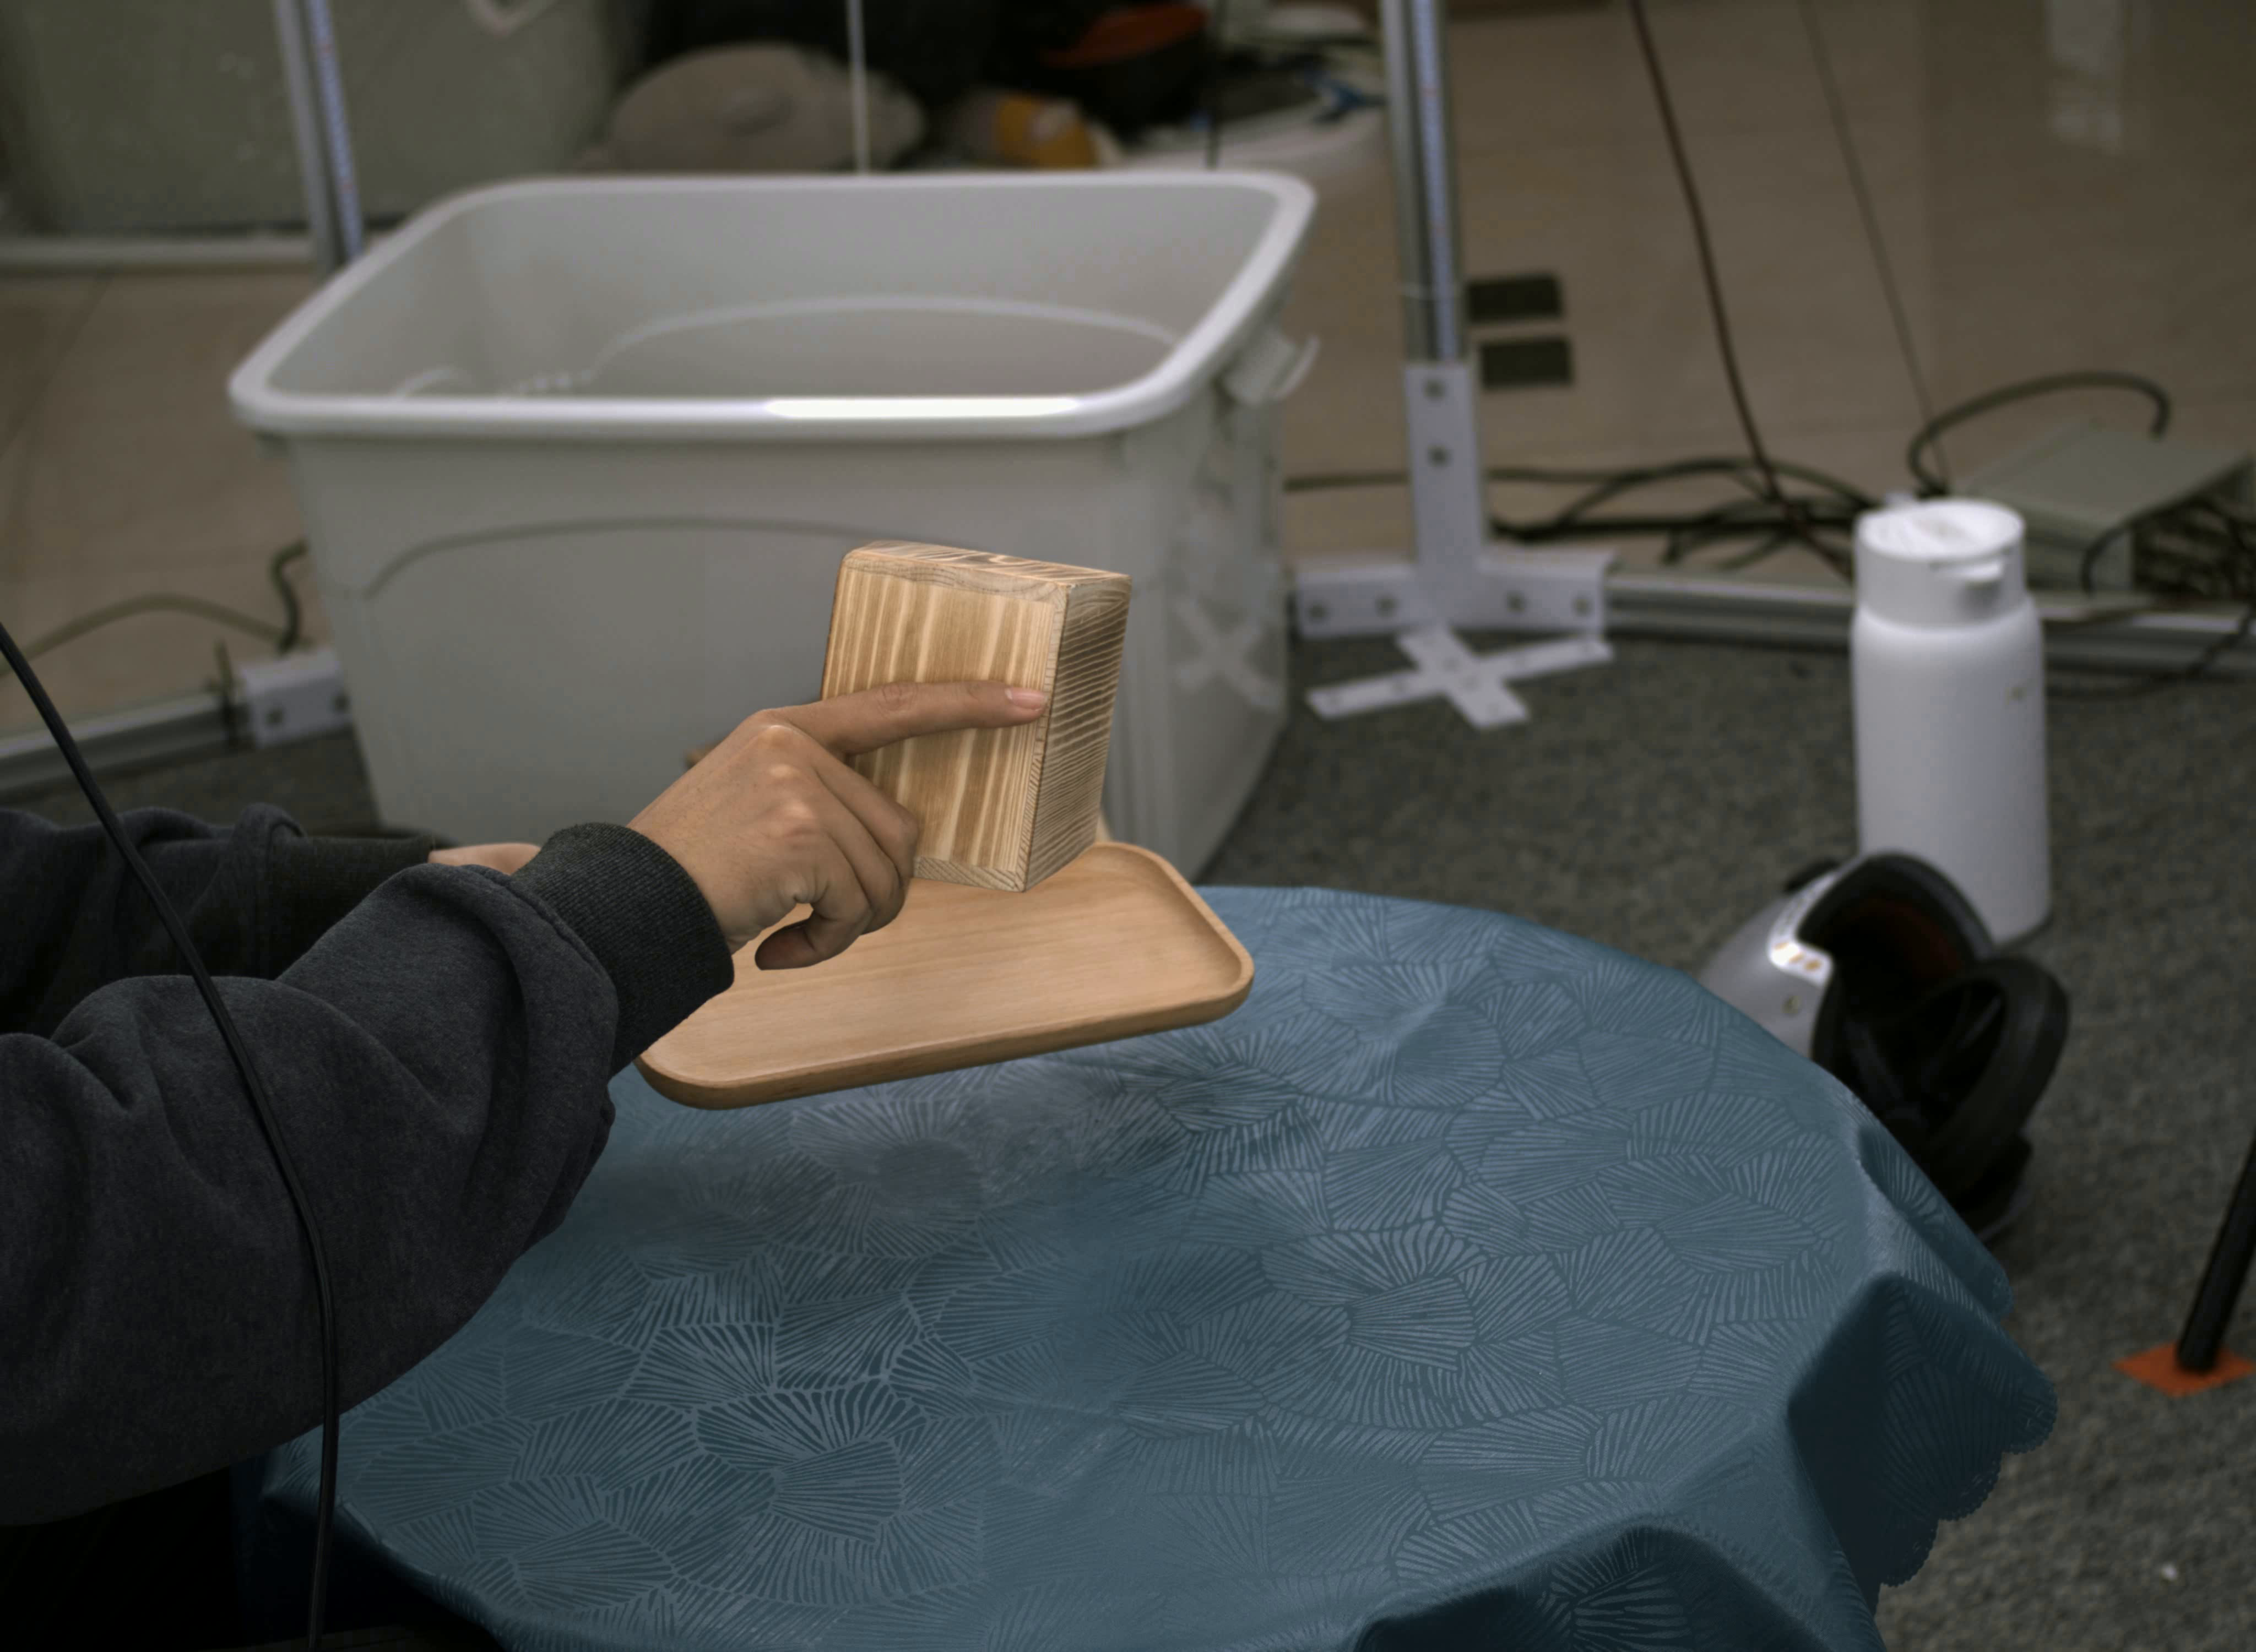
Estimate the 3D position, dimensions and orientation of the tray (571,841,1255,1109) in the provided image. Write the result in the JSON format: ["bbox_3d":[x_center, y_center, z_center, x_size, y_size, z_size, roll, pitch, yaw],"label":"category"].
[{"bbox_3d":[-0.081,0.056,2.166,0.250,0.023,0.129,-9,30,-23],"label":"tray"}]

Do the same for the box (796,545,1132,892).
[{"bbox_3d":[-0.055,-0.041,2.001,0.080,0.108,0.211,9,4,5],"label":"box"}]
